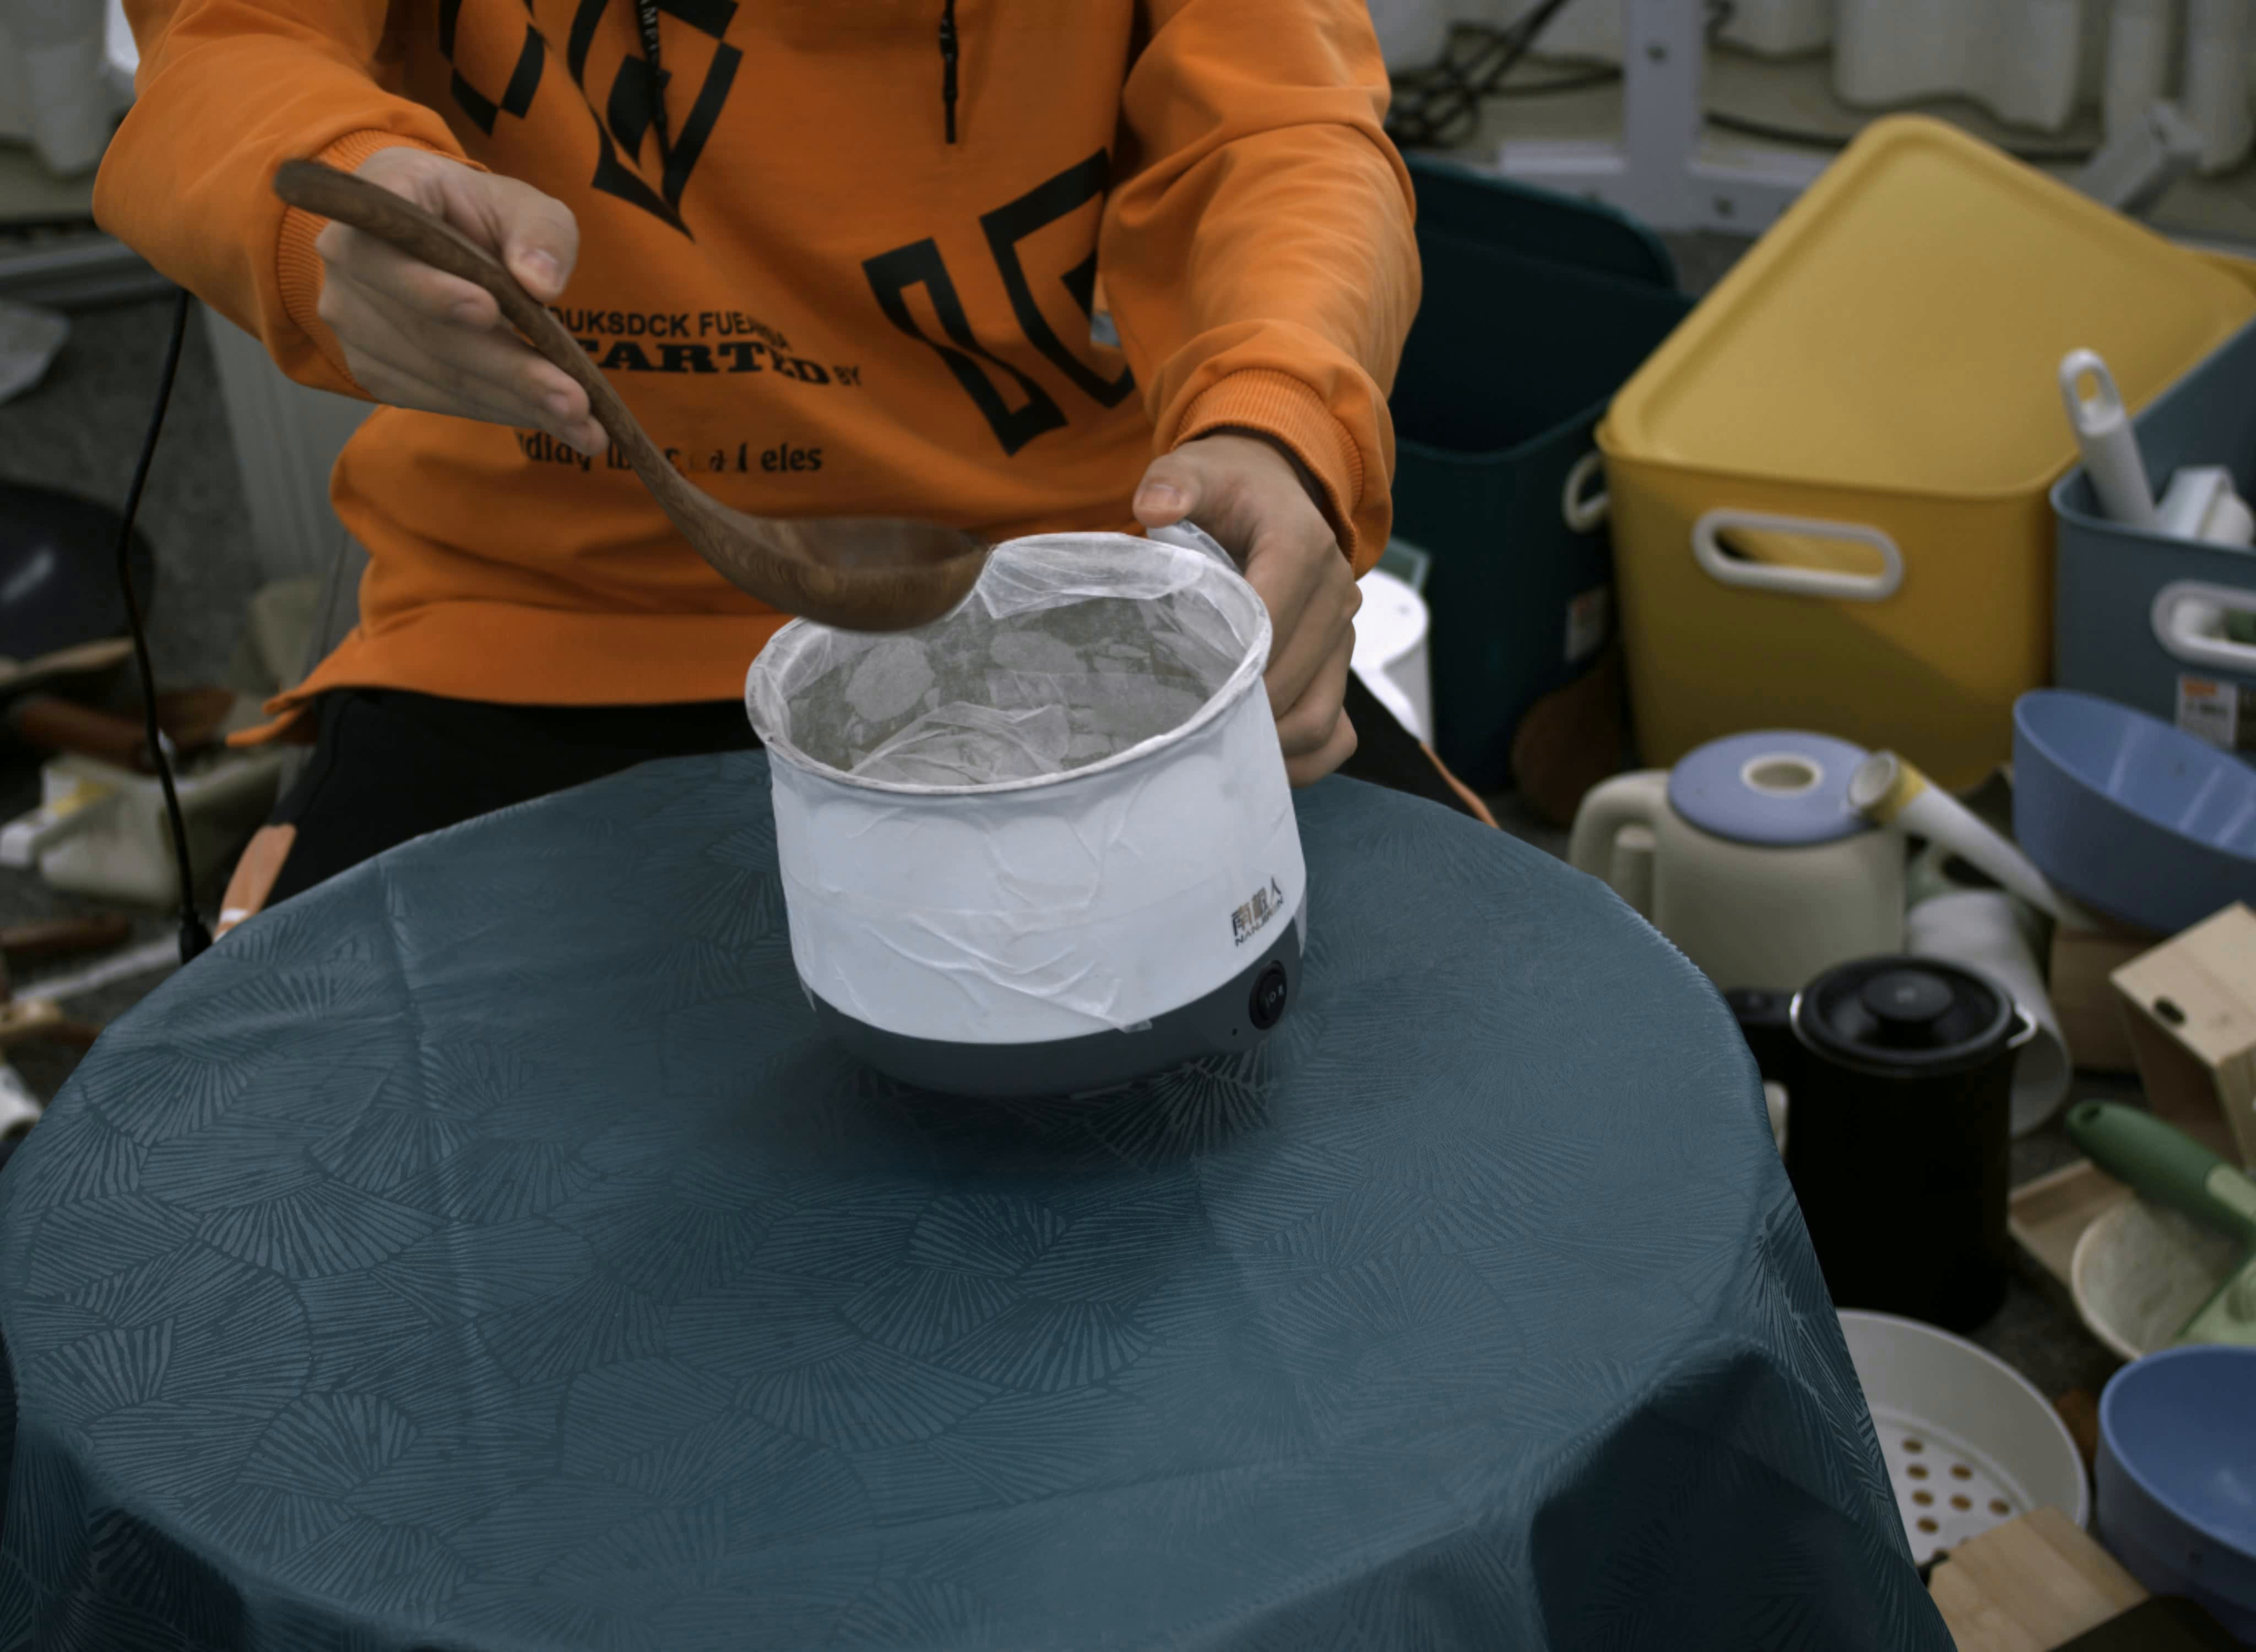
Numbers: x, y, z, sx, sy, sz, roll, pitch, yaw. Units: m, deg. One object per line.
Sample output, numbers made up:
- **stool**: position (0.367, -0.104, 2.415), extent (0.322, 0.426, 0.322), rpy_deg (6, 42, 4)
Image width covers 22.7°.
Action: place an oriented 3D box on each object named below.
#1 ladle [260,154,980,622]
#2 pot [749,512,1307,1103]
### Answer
- **ladle**: position (-0.159, -0.148, 1.800), extent (0.065, 0.259, 0.077), rpy_deg (-50, 17, 1)
- **pot**: position (-0.017, -0.014, 1.911), extent (0.177, 0.135, 0.238), rpy_deg (11, 34, 29)
